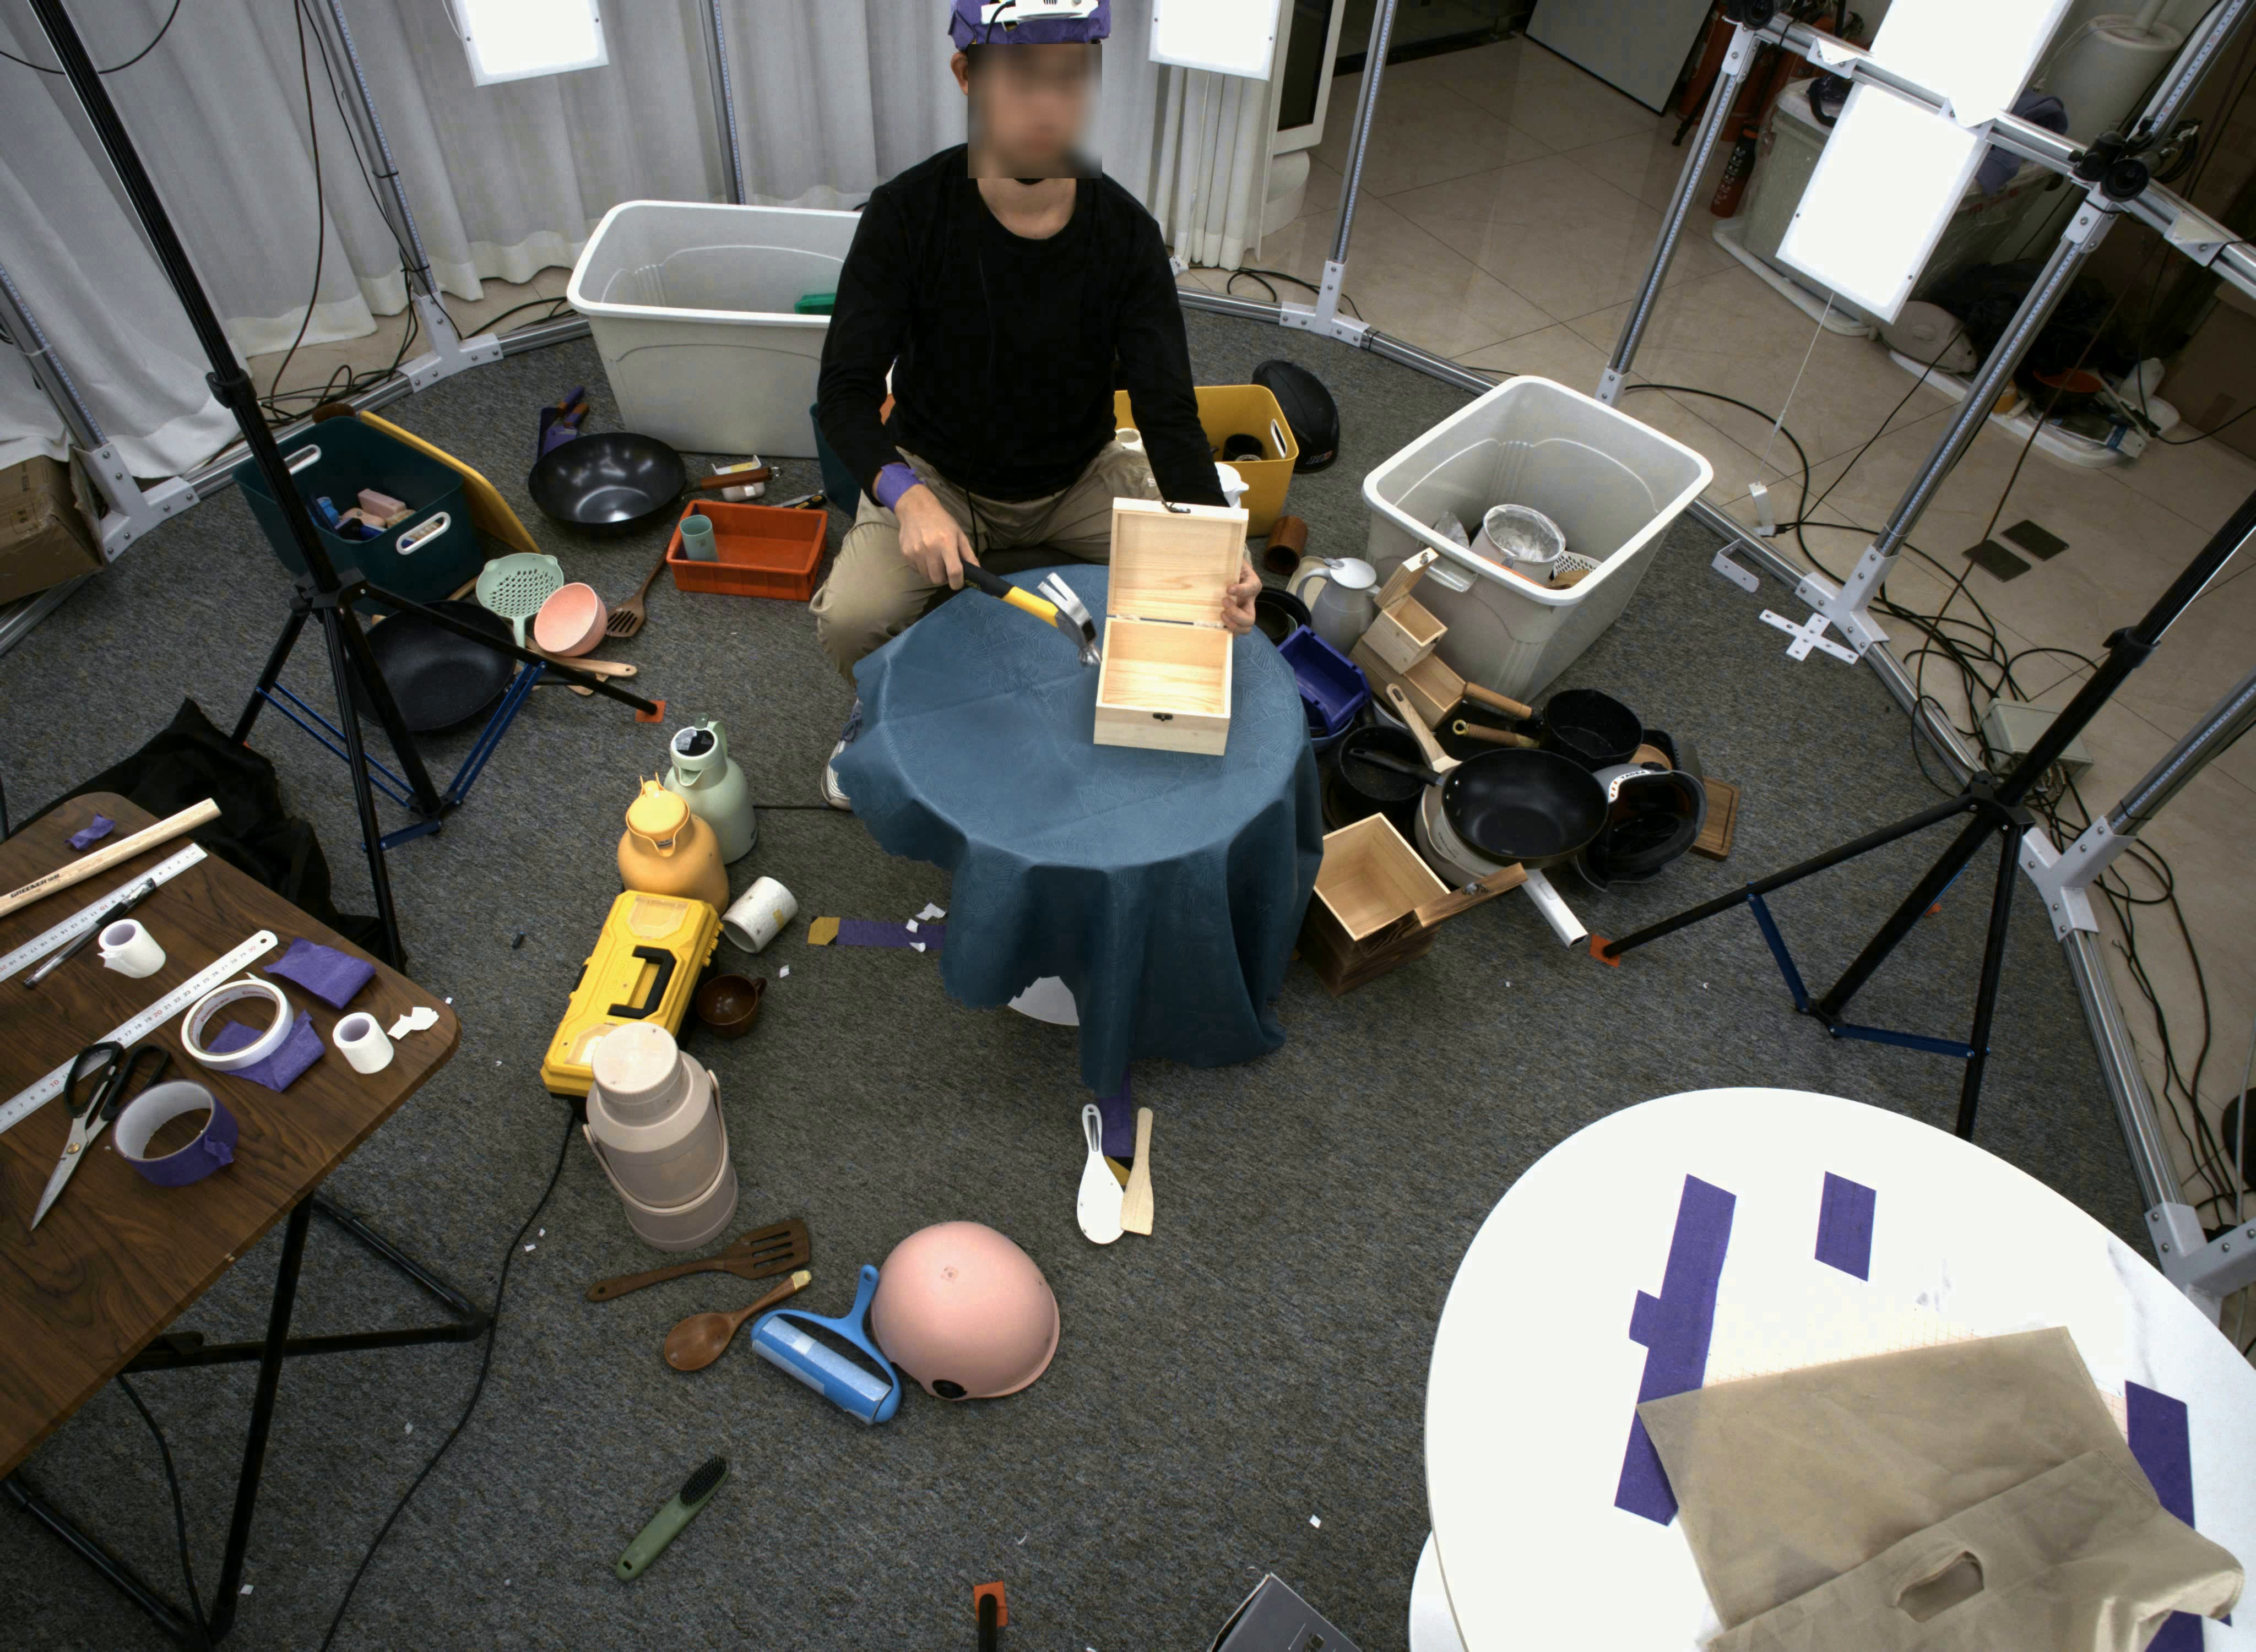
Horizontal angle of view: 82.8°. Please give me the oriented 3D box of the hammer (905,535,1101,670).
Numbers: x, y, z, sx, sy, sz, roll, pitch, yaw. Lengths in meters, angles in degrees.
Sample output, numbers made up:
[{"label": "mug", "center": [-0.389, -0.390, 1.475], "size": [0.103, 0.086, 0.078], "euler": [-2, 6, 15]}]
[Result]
[{"label": "hammer", "center": [-0.176, -0.320, 1.721], "size": [0.343, 0.128, 0.032], "euler": [30, 66, 32]}]

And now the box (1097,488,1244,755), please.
[{"label": "box", "center": [0.057, -0.278, 1.753], "size": [0.182, 0.247, 0.271], "euler": [3, 49, 2]}]
